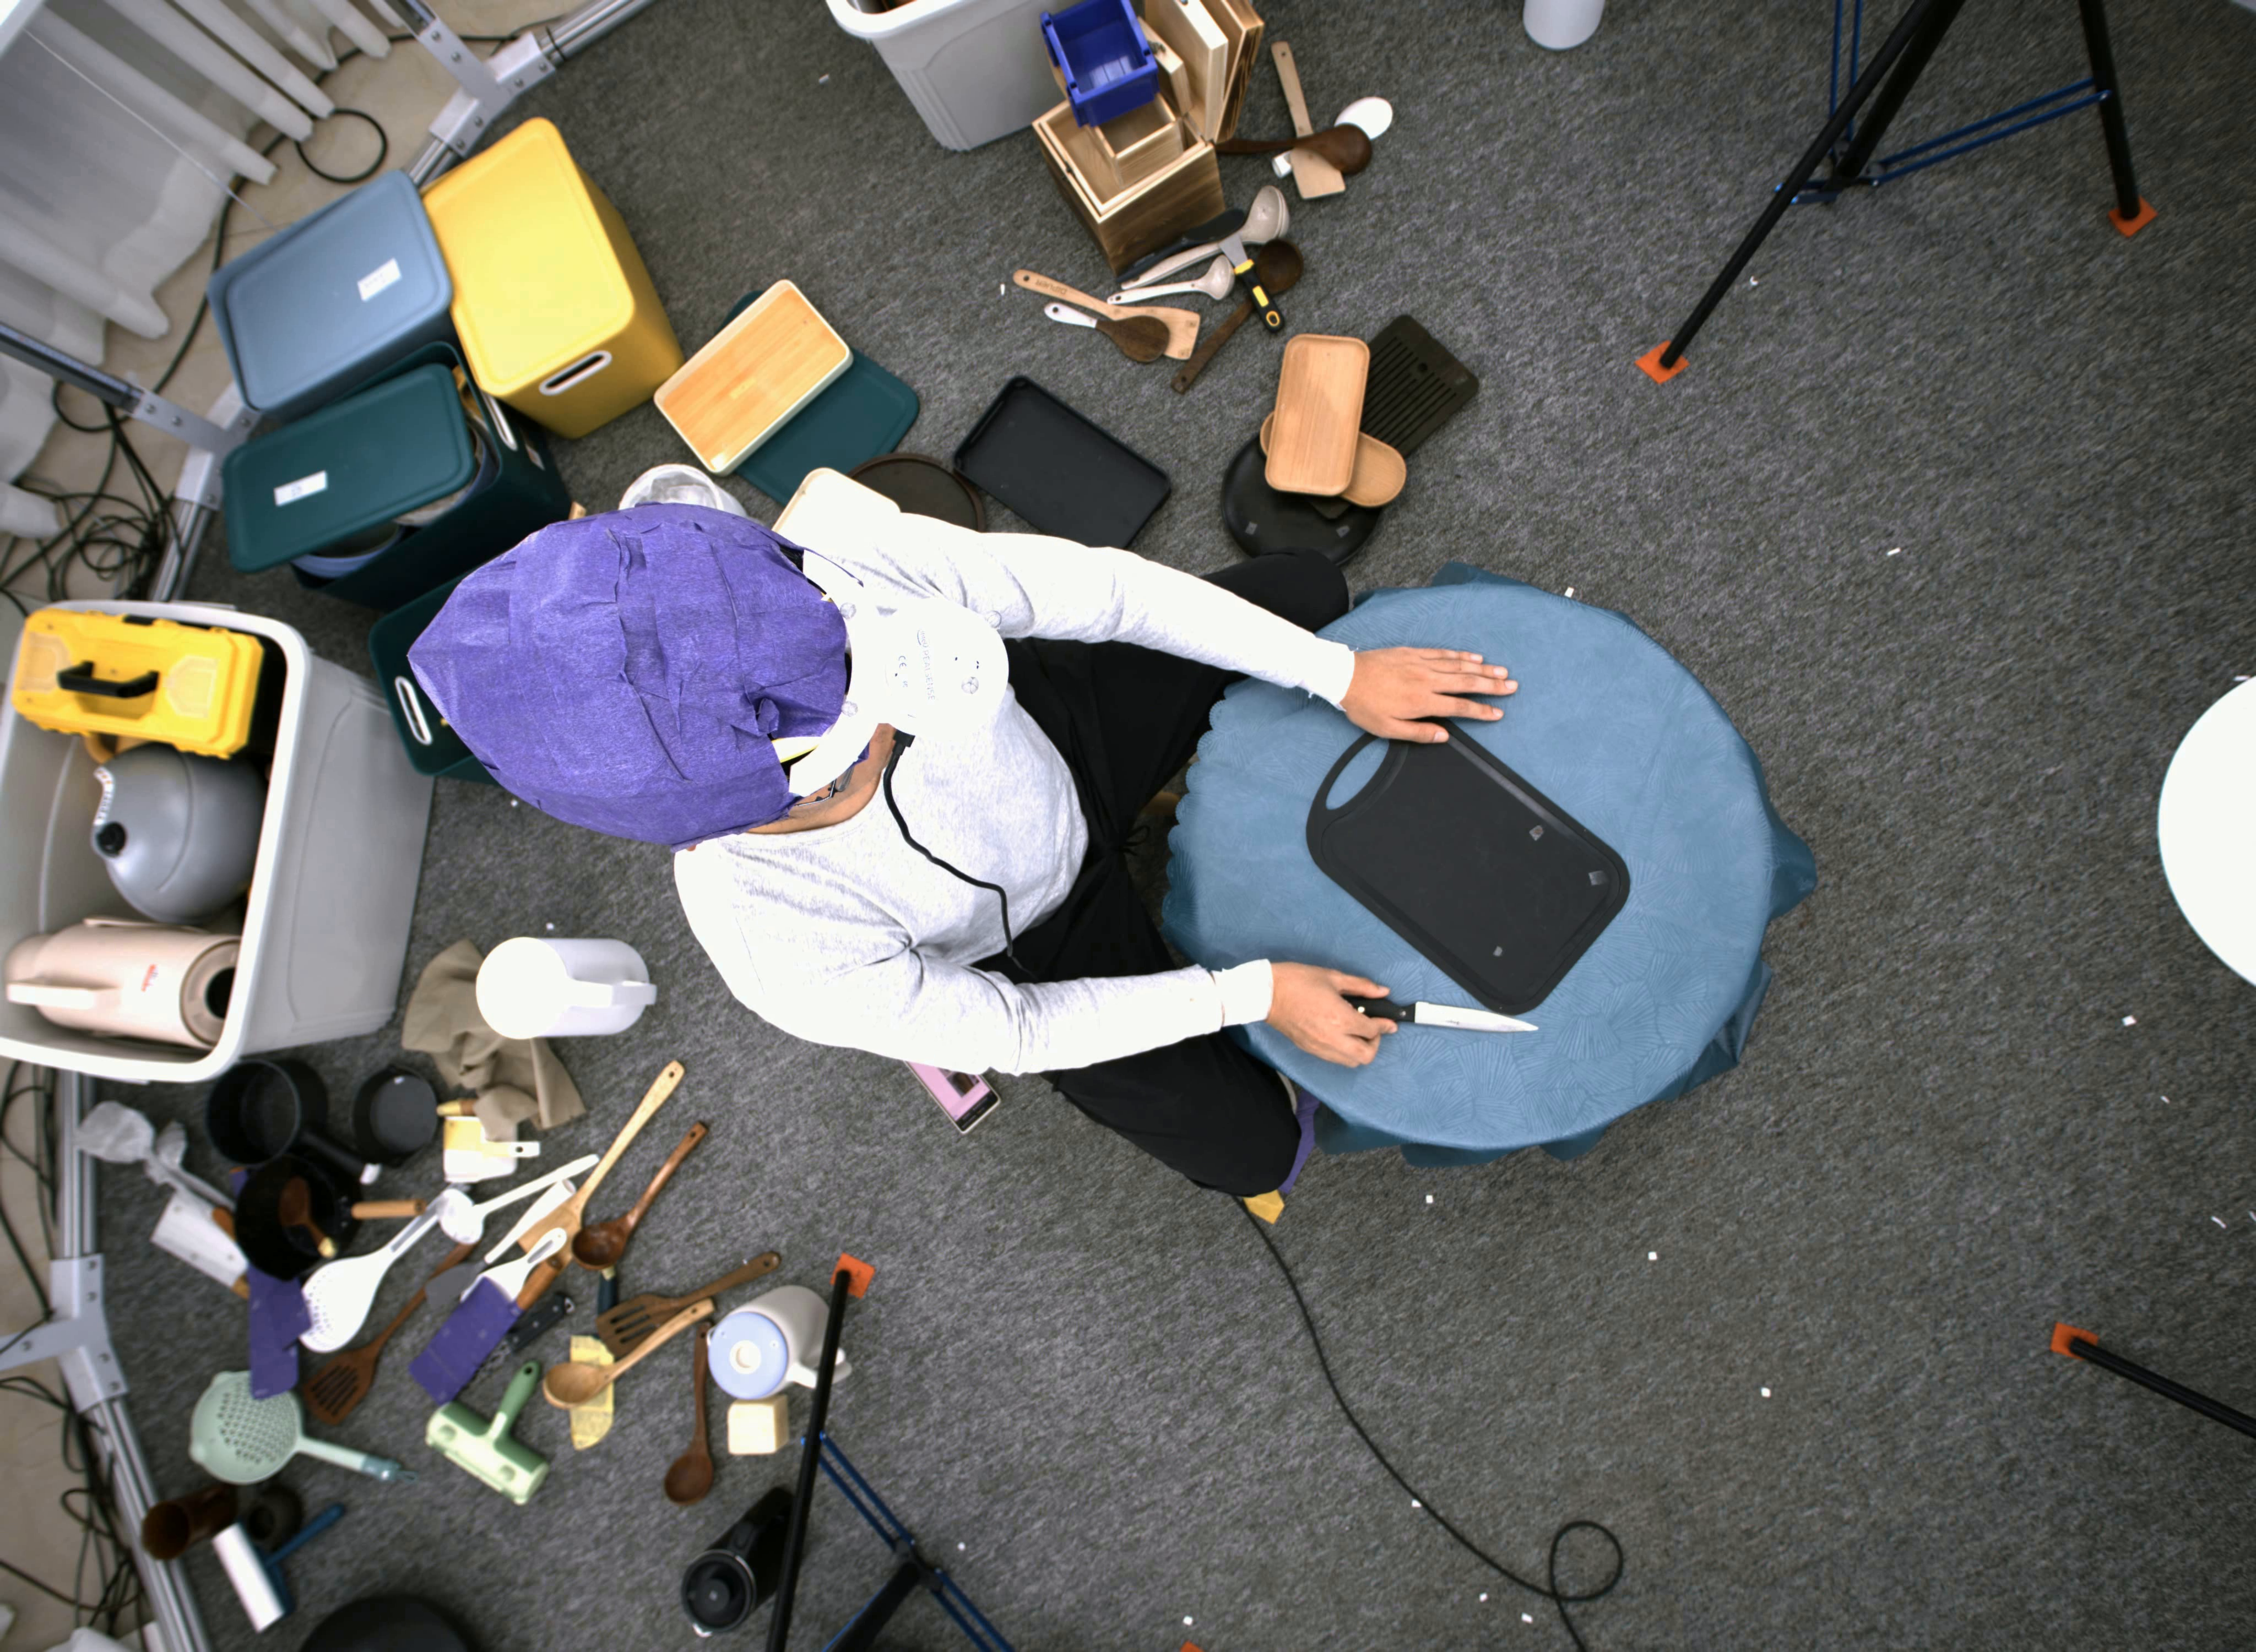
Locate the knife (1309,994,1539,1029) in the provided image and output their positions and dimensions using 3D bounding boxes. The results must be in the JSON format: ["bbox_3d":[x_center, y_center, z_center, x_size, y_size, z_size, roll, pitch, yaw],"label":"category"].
[{"bbox_3d":[0.307,0.194,1.440,0.239,0.016,0.024,4,82,8],"label":"knife"}]

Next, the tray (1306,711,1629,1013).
[{"bbox_3d":[0.346,0.029,1.445,0.324,0.010,0.212,41,94,10],"label":"tray"}]
